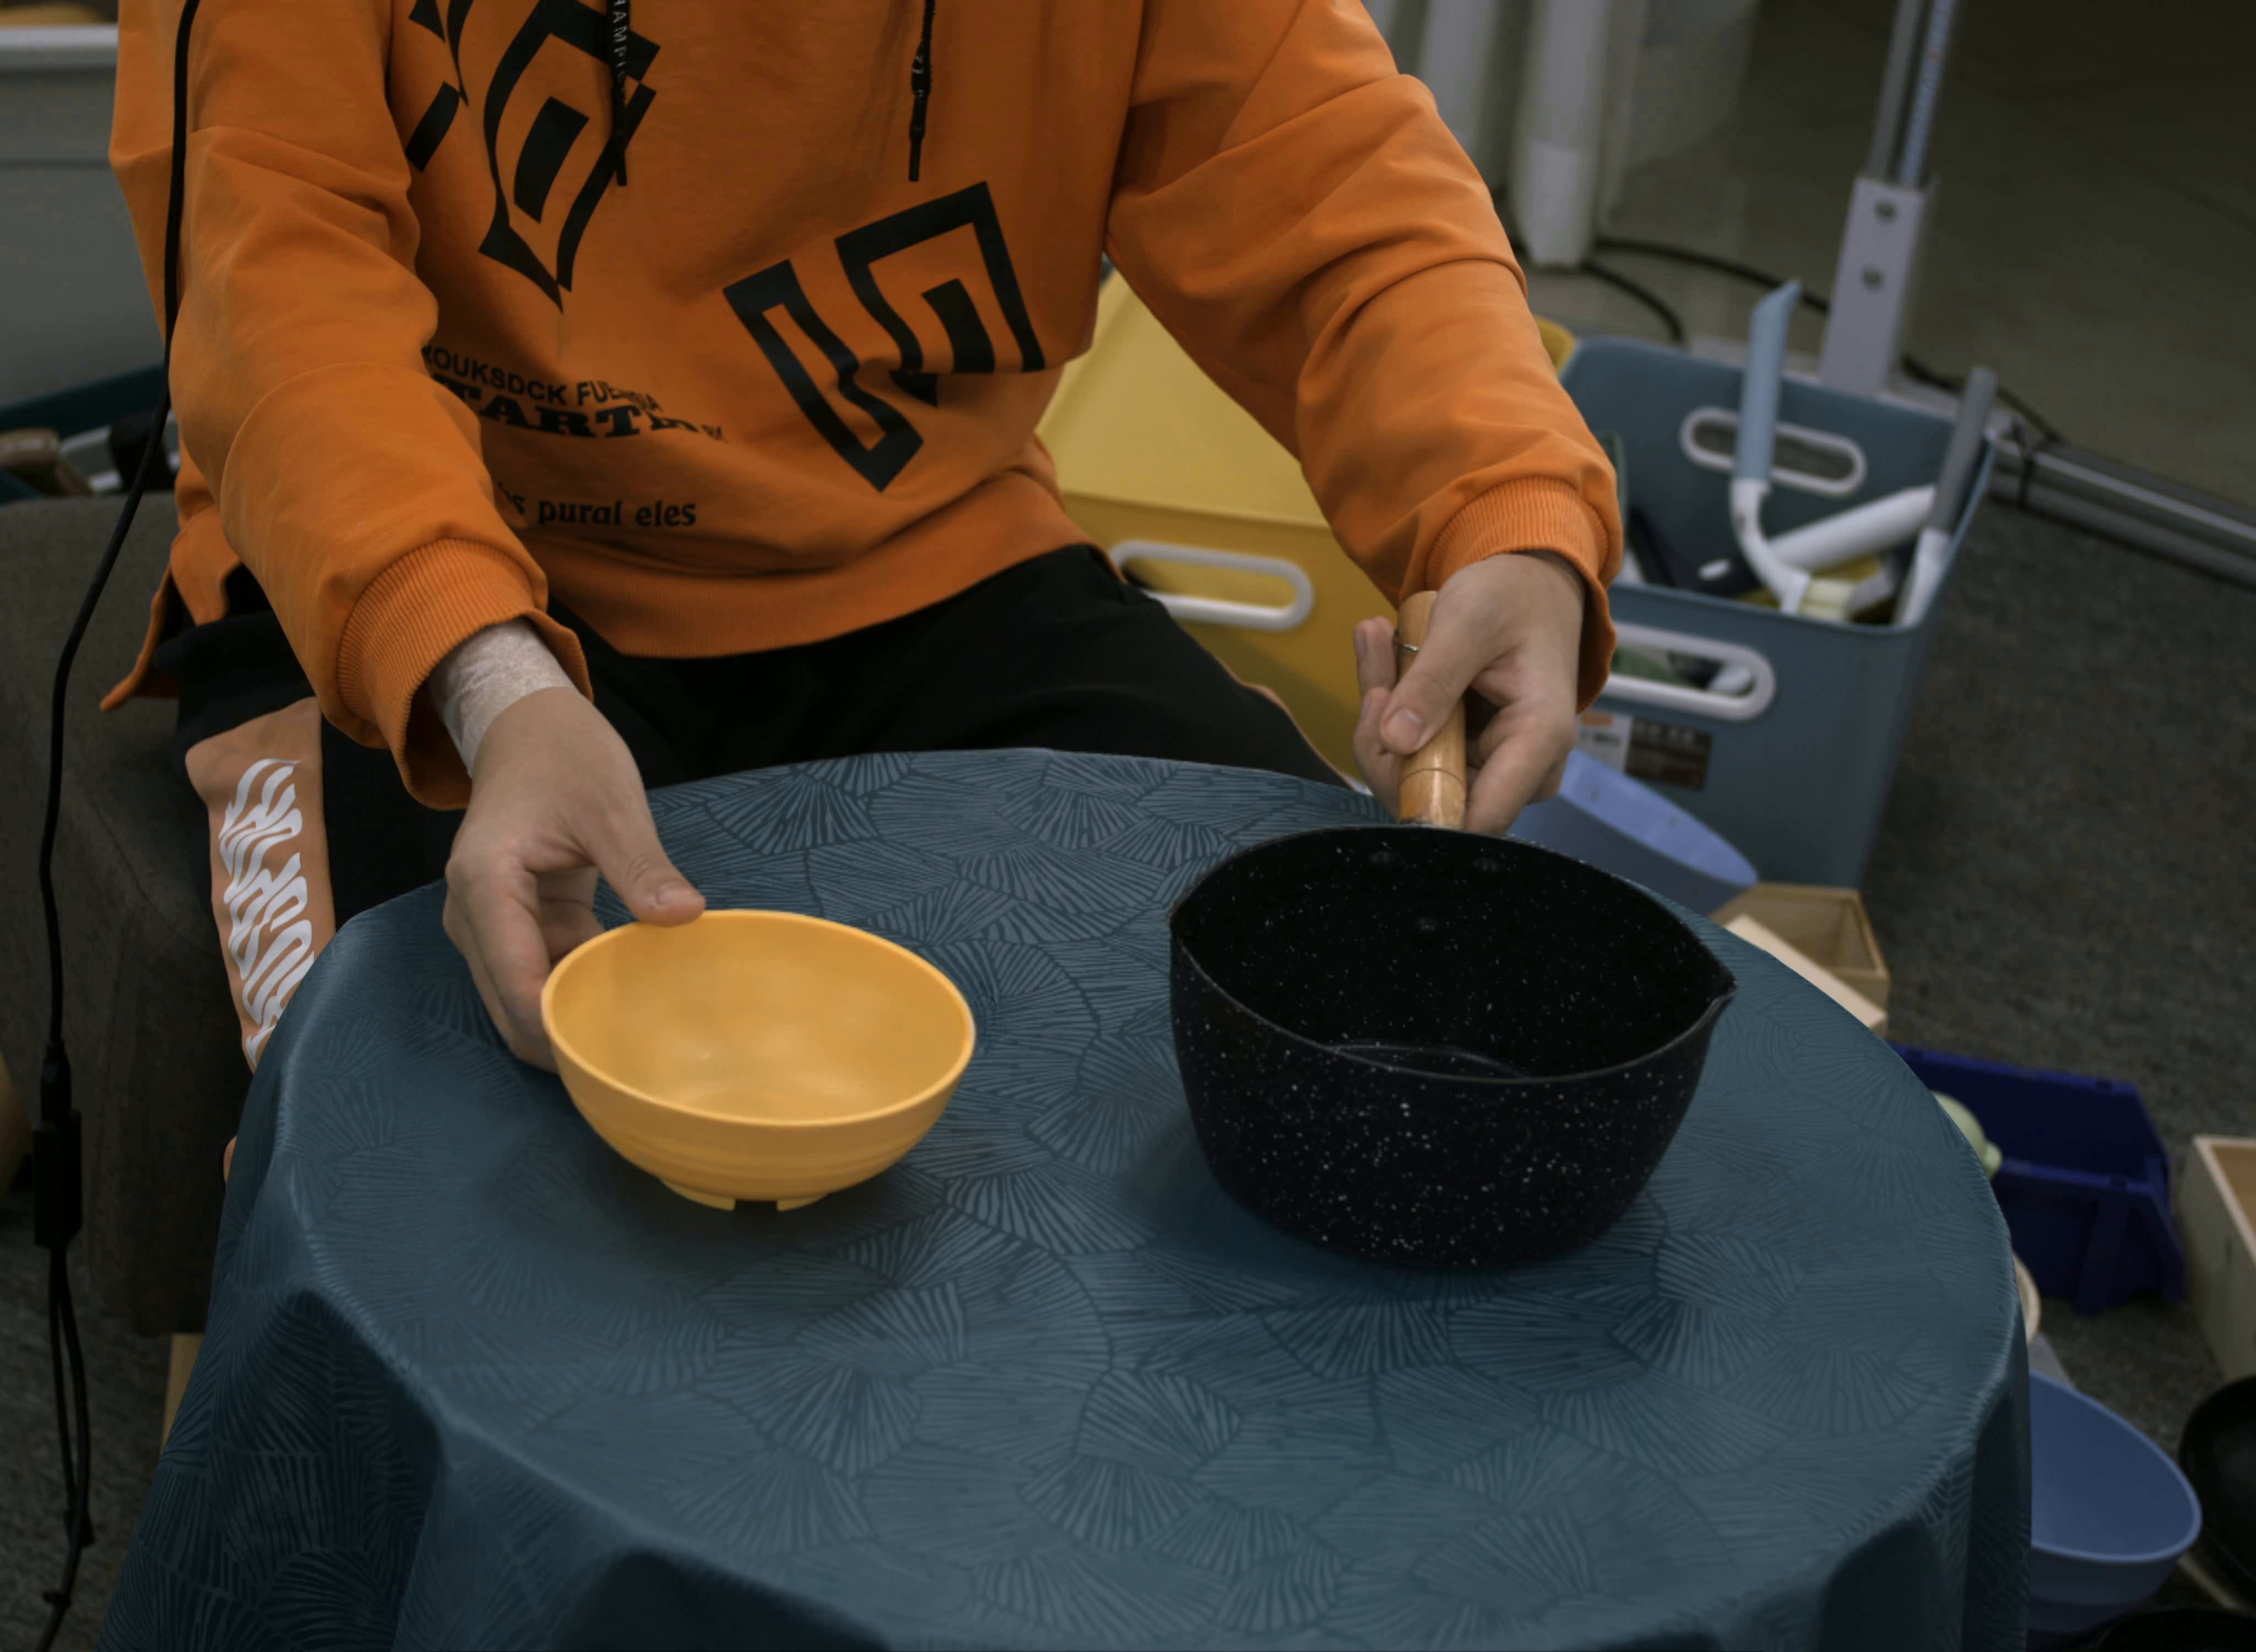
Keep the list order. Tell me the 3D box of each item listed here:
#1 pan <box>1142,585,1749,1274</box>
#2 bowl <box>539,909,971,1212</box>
[{"bbox_3d":[0.106,0.032,1.887,0.207,0.108,0.345,4,27,-2],"label":"pan"},{"bbox_3d":[-0.127,0.087,1.781,0.145,0.060,0.146,6,26,-3],"label":"bowl"}]
